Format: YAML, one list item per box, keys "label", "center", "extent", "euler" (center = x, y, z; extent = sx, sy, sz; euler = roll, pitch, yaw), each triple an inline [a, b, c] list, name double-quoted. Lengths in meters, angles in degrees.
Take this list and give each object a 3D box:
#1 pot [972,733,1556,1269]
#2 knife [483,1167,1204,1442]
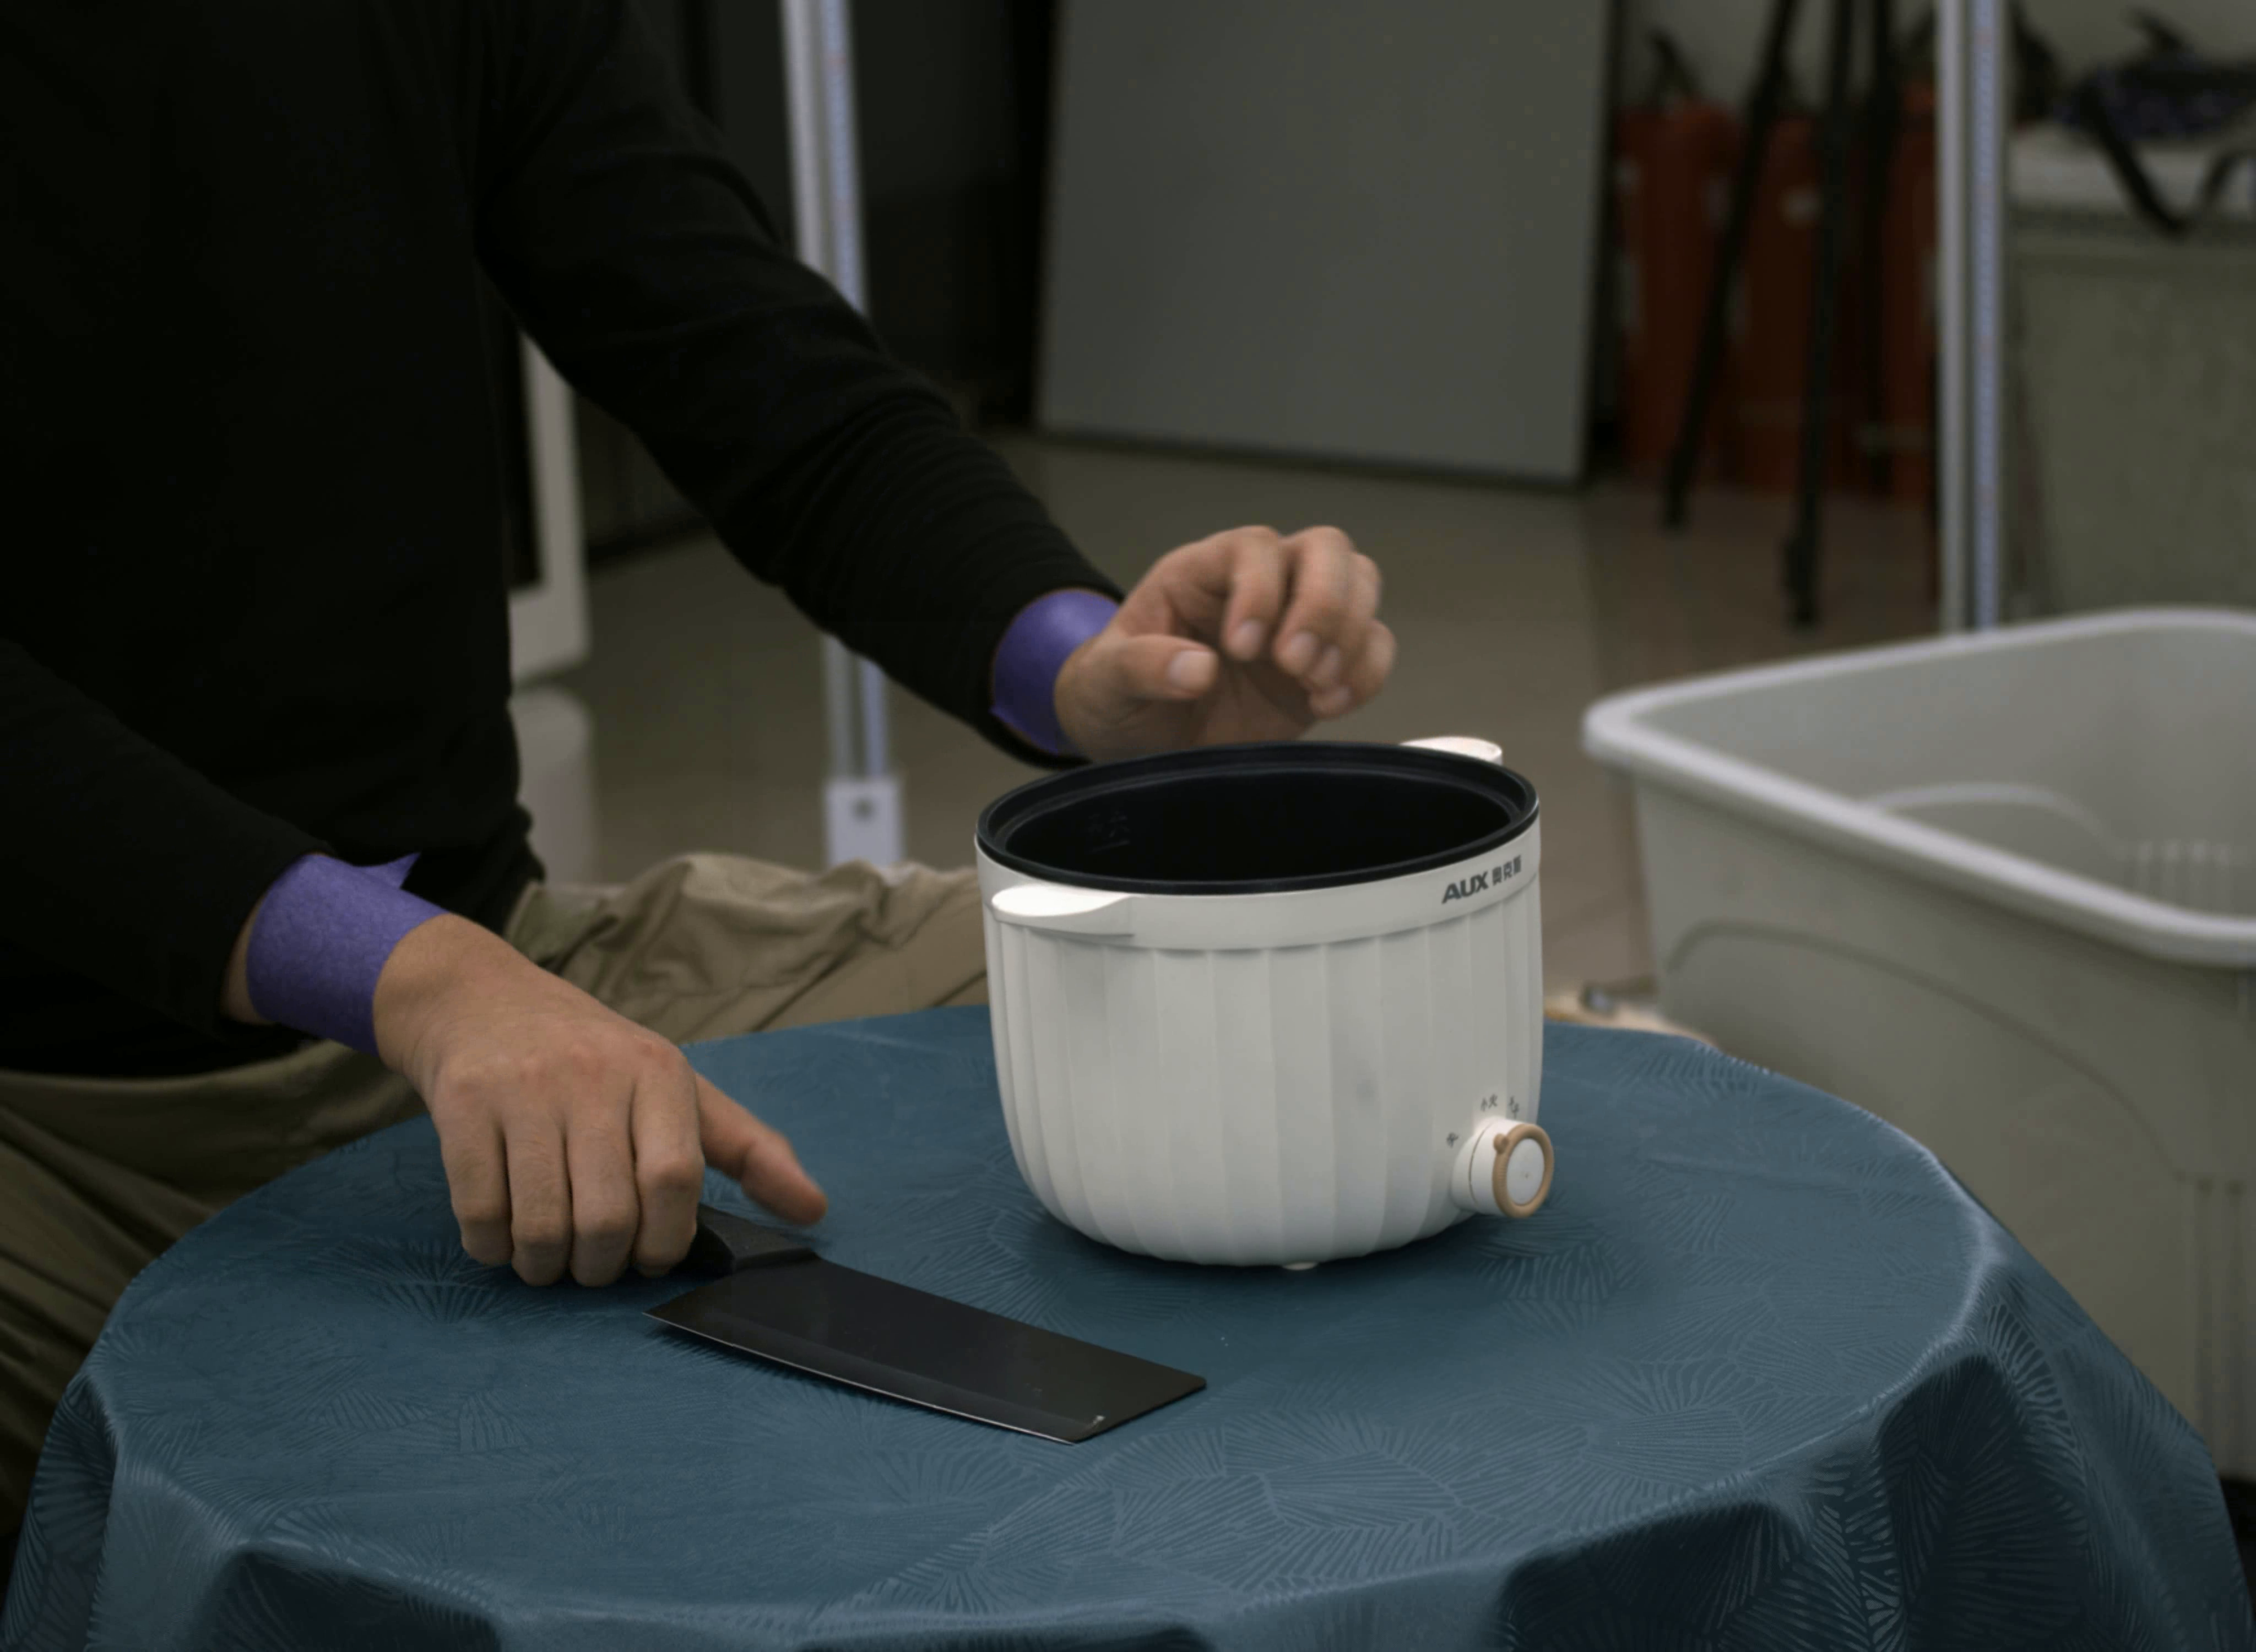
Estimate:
- label: "pot"
  center: [0.049, 0.058, 1.726]
  extent: [0.192, 0.144, 0.236]
  euler: [3, 16, 40]
- label: "knife"
  center: [-0.101, 0.147, 1.671]
  extent: [0.079, 0.021, 0.305]
  euler: [-16, 20, -39]
